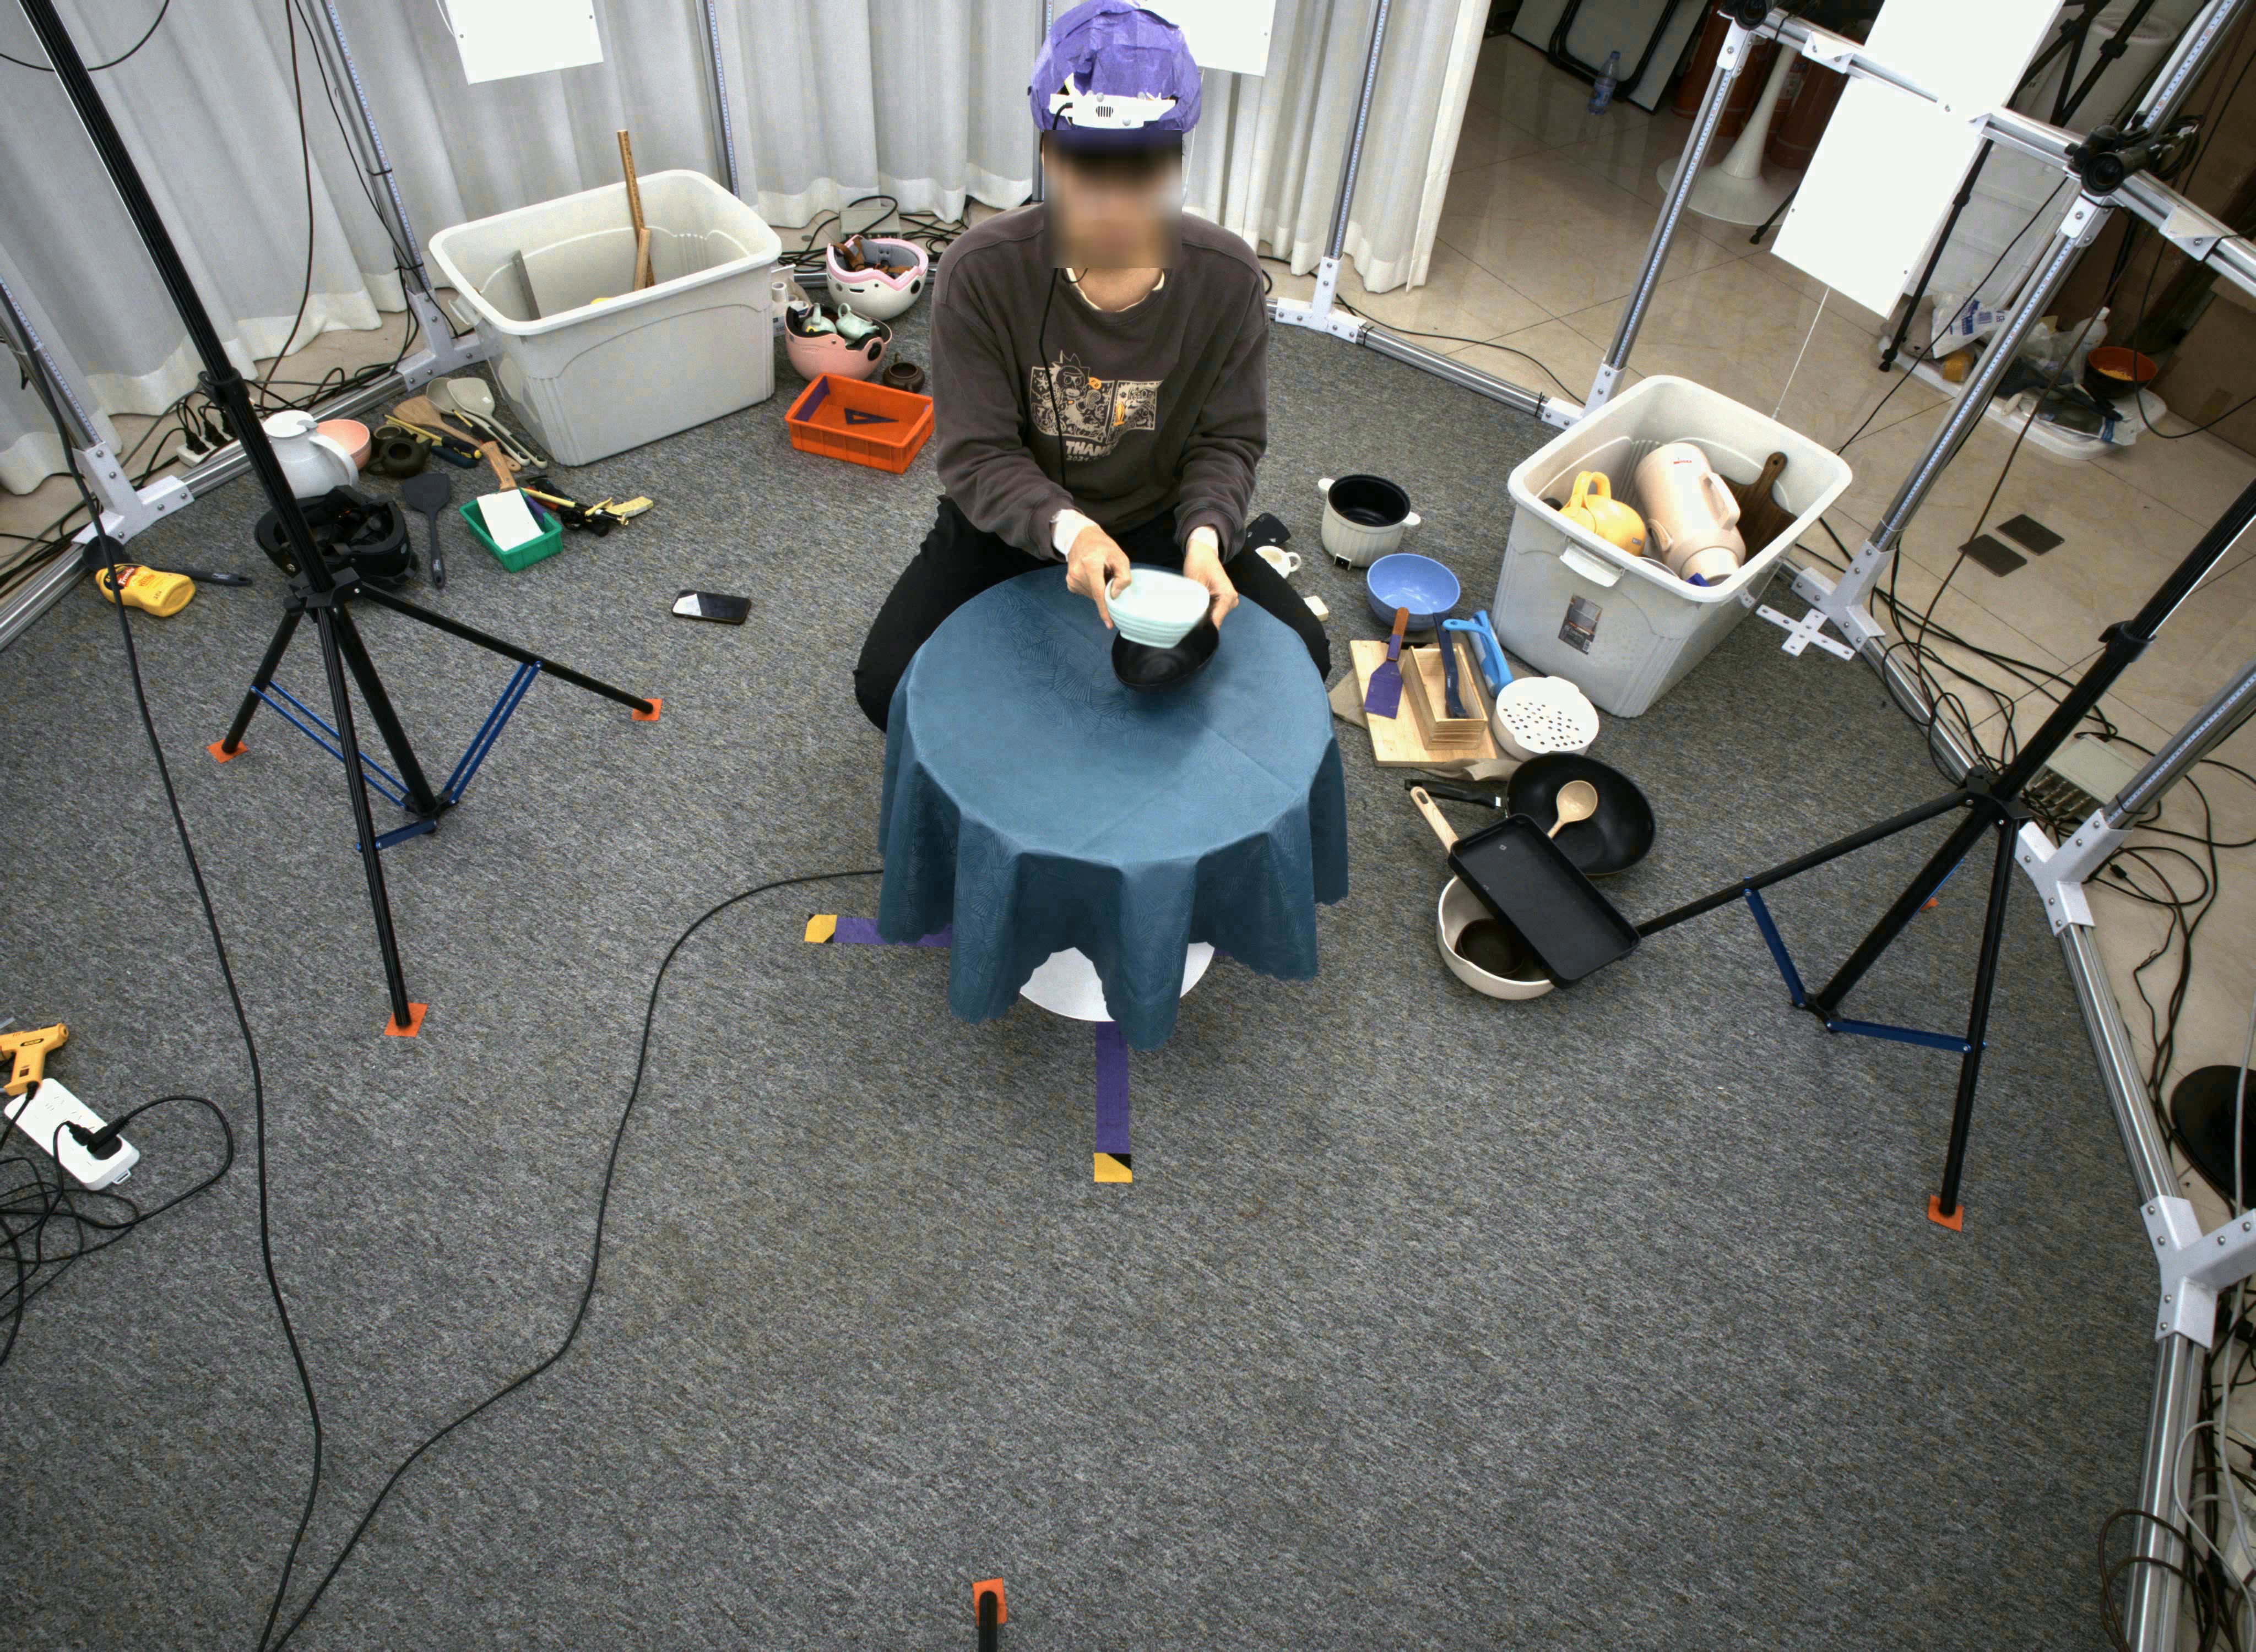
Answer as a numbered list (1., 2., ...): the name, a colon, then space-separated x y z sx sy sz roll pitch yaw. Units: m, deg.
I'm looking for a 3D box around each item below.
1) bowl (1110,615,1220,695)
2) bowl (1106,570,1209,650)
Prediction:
1. bowl: 0.052 -0.235 1.807 0.139 0.065 0.172 33 58 26
2. bowl: 0.036 -0.288 1.746 0.151 0.057 0.155 9 34 -6
